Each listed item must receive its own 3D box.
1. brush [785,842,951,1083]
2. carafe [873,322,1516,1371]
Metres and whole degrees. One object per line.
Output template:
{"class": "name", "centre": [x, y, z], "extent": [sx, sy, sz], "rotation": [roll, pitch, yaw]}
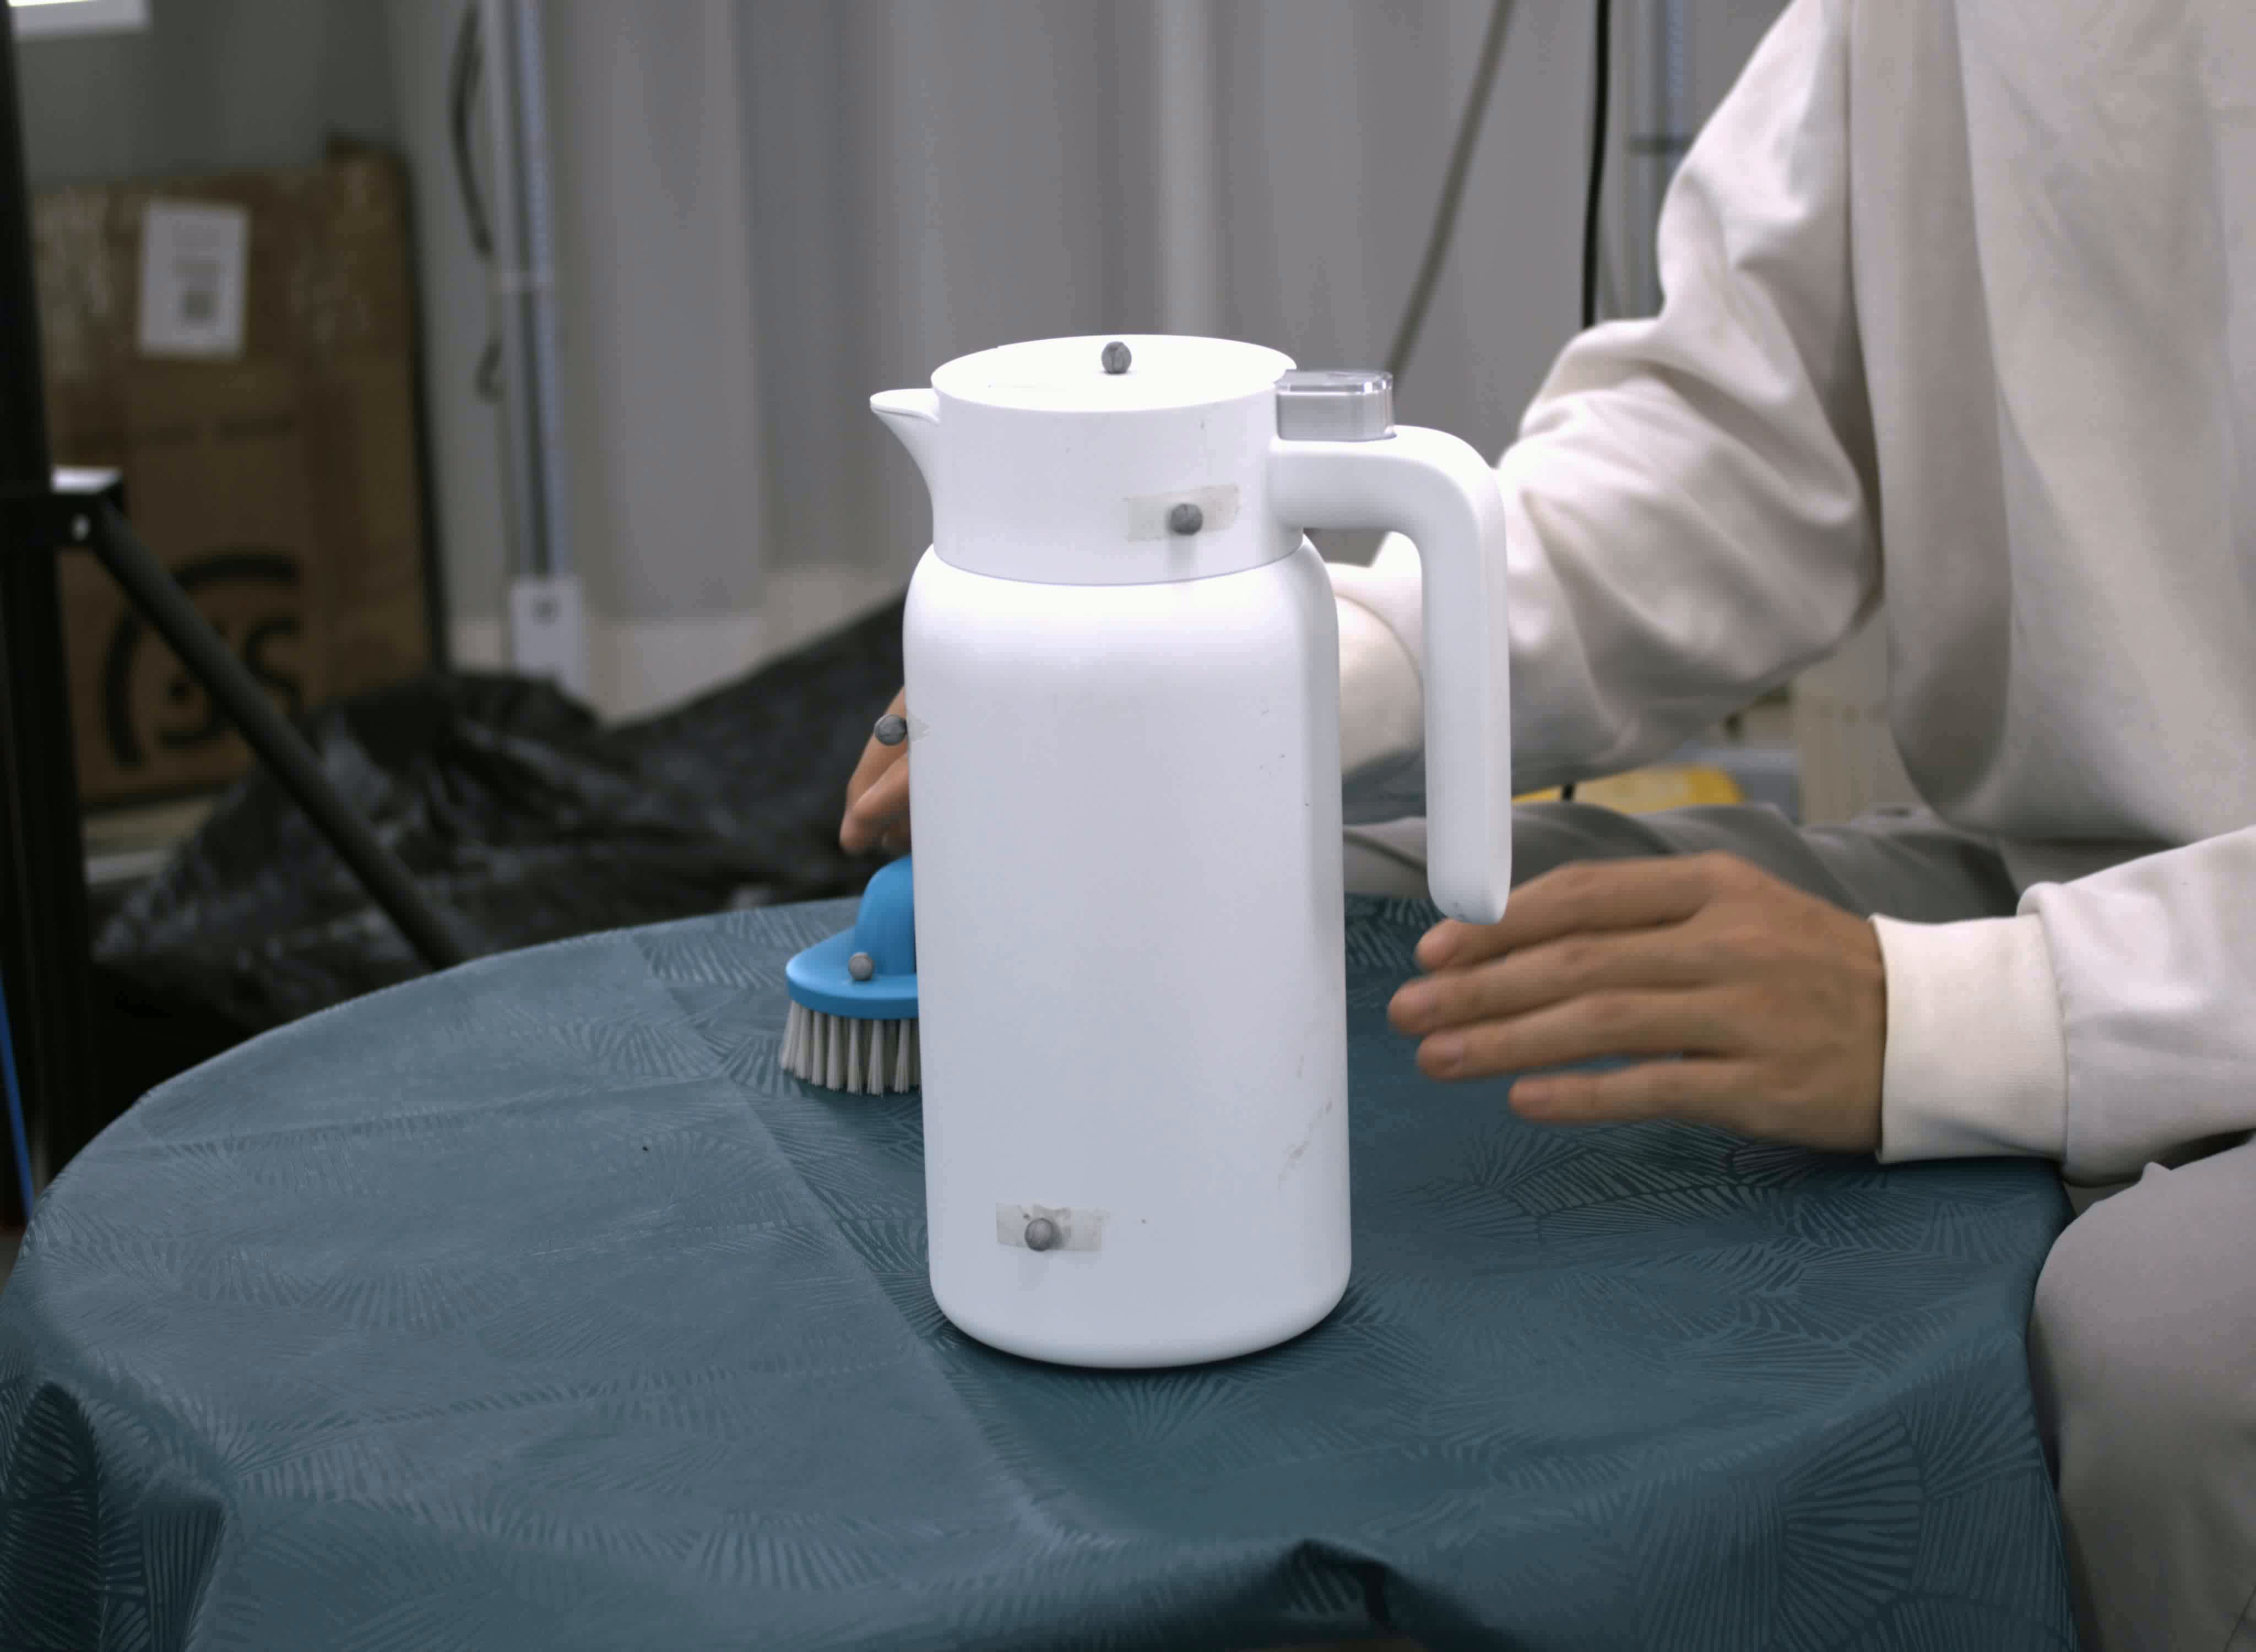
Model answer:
{"class": "brush", "centre": [-0.055, 0.034, 1.709], "extent": [0.086, 0.064, 0.139], "rotation": [1, 15, 32]}
{"class": "carafe", "centre": [0.018, 0.006, 1.432], "extent": [0.174, 0.269, 0.122], "rotation": [3, 14, 16]}
